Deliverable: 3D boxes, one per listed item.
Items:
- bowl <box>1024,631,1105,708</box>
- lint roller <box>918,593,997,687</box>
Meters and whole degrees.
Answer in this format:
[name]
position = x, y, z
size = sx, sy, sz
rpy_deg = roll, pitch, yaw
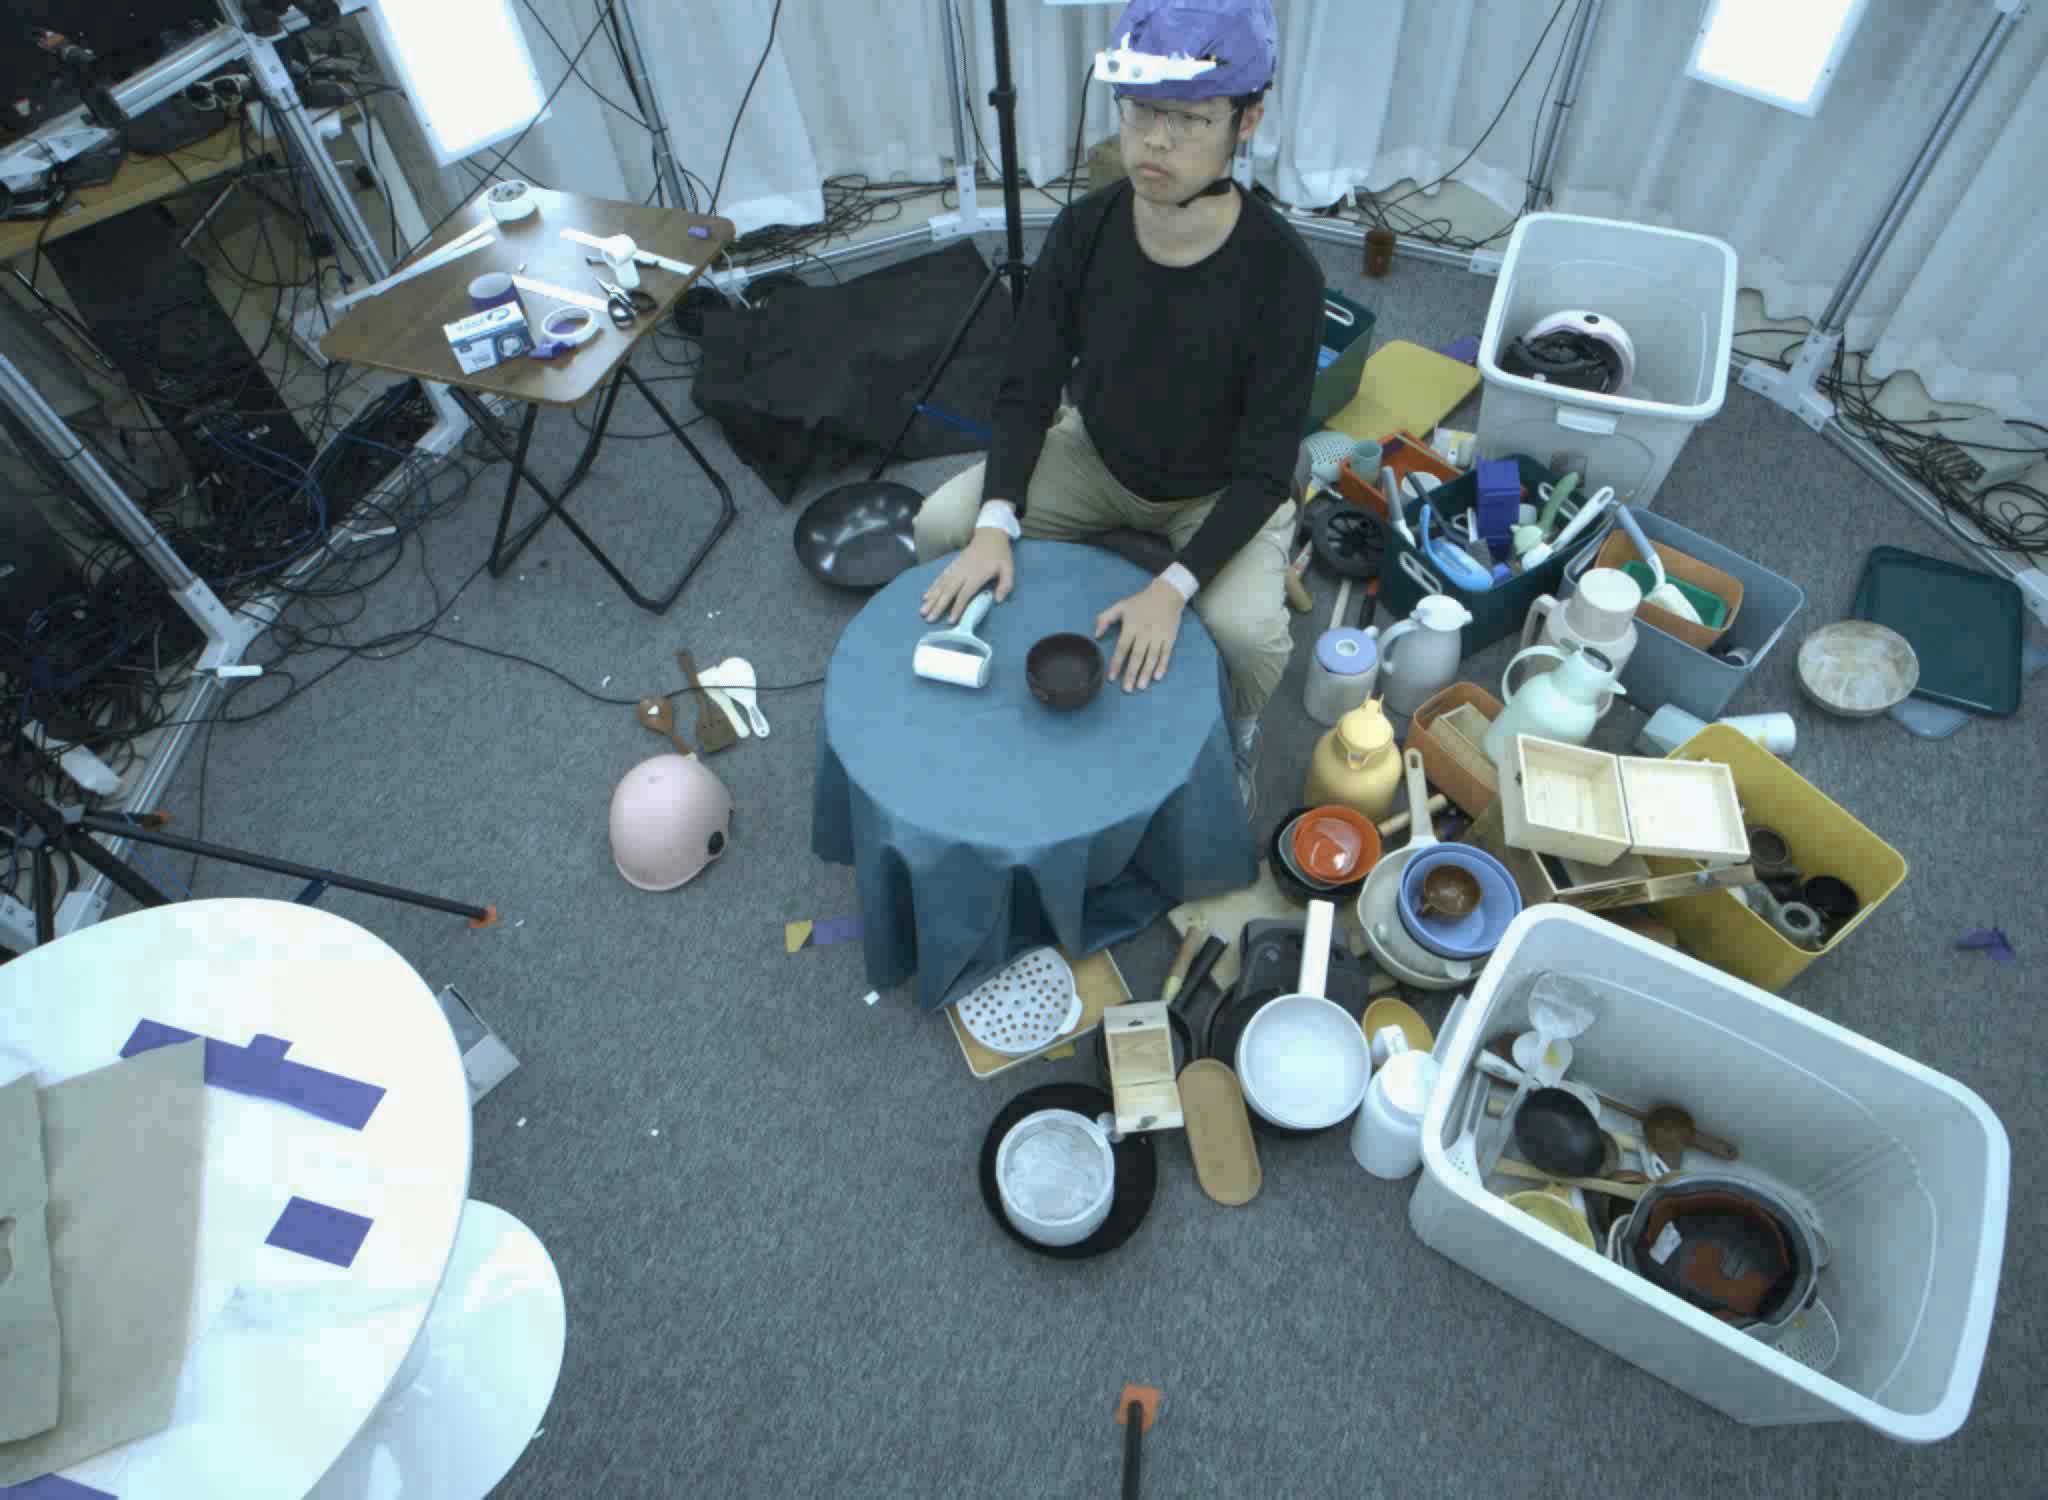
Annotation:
[bowl]
position = 0.061, -0.111, 1.820
size = 0.118, 0.070, 0.117
rpy_deg = -1, 54, 3
[lint roller]
position = -0.081, -0.181, 1.891
size = 0.115, 0.049, 0.197
rpy_deg = 12, 54, 12
